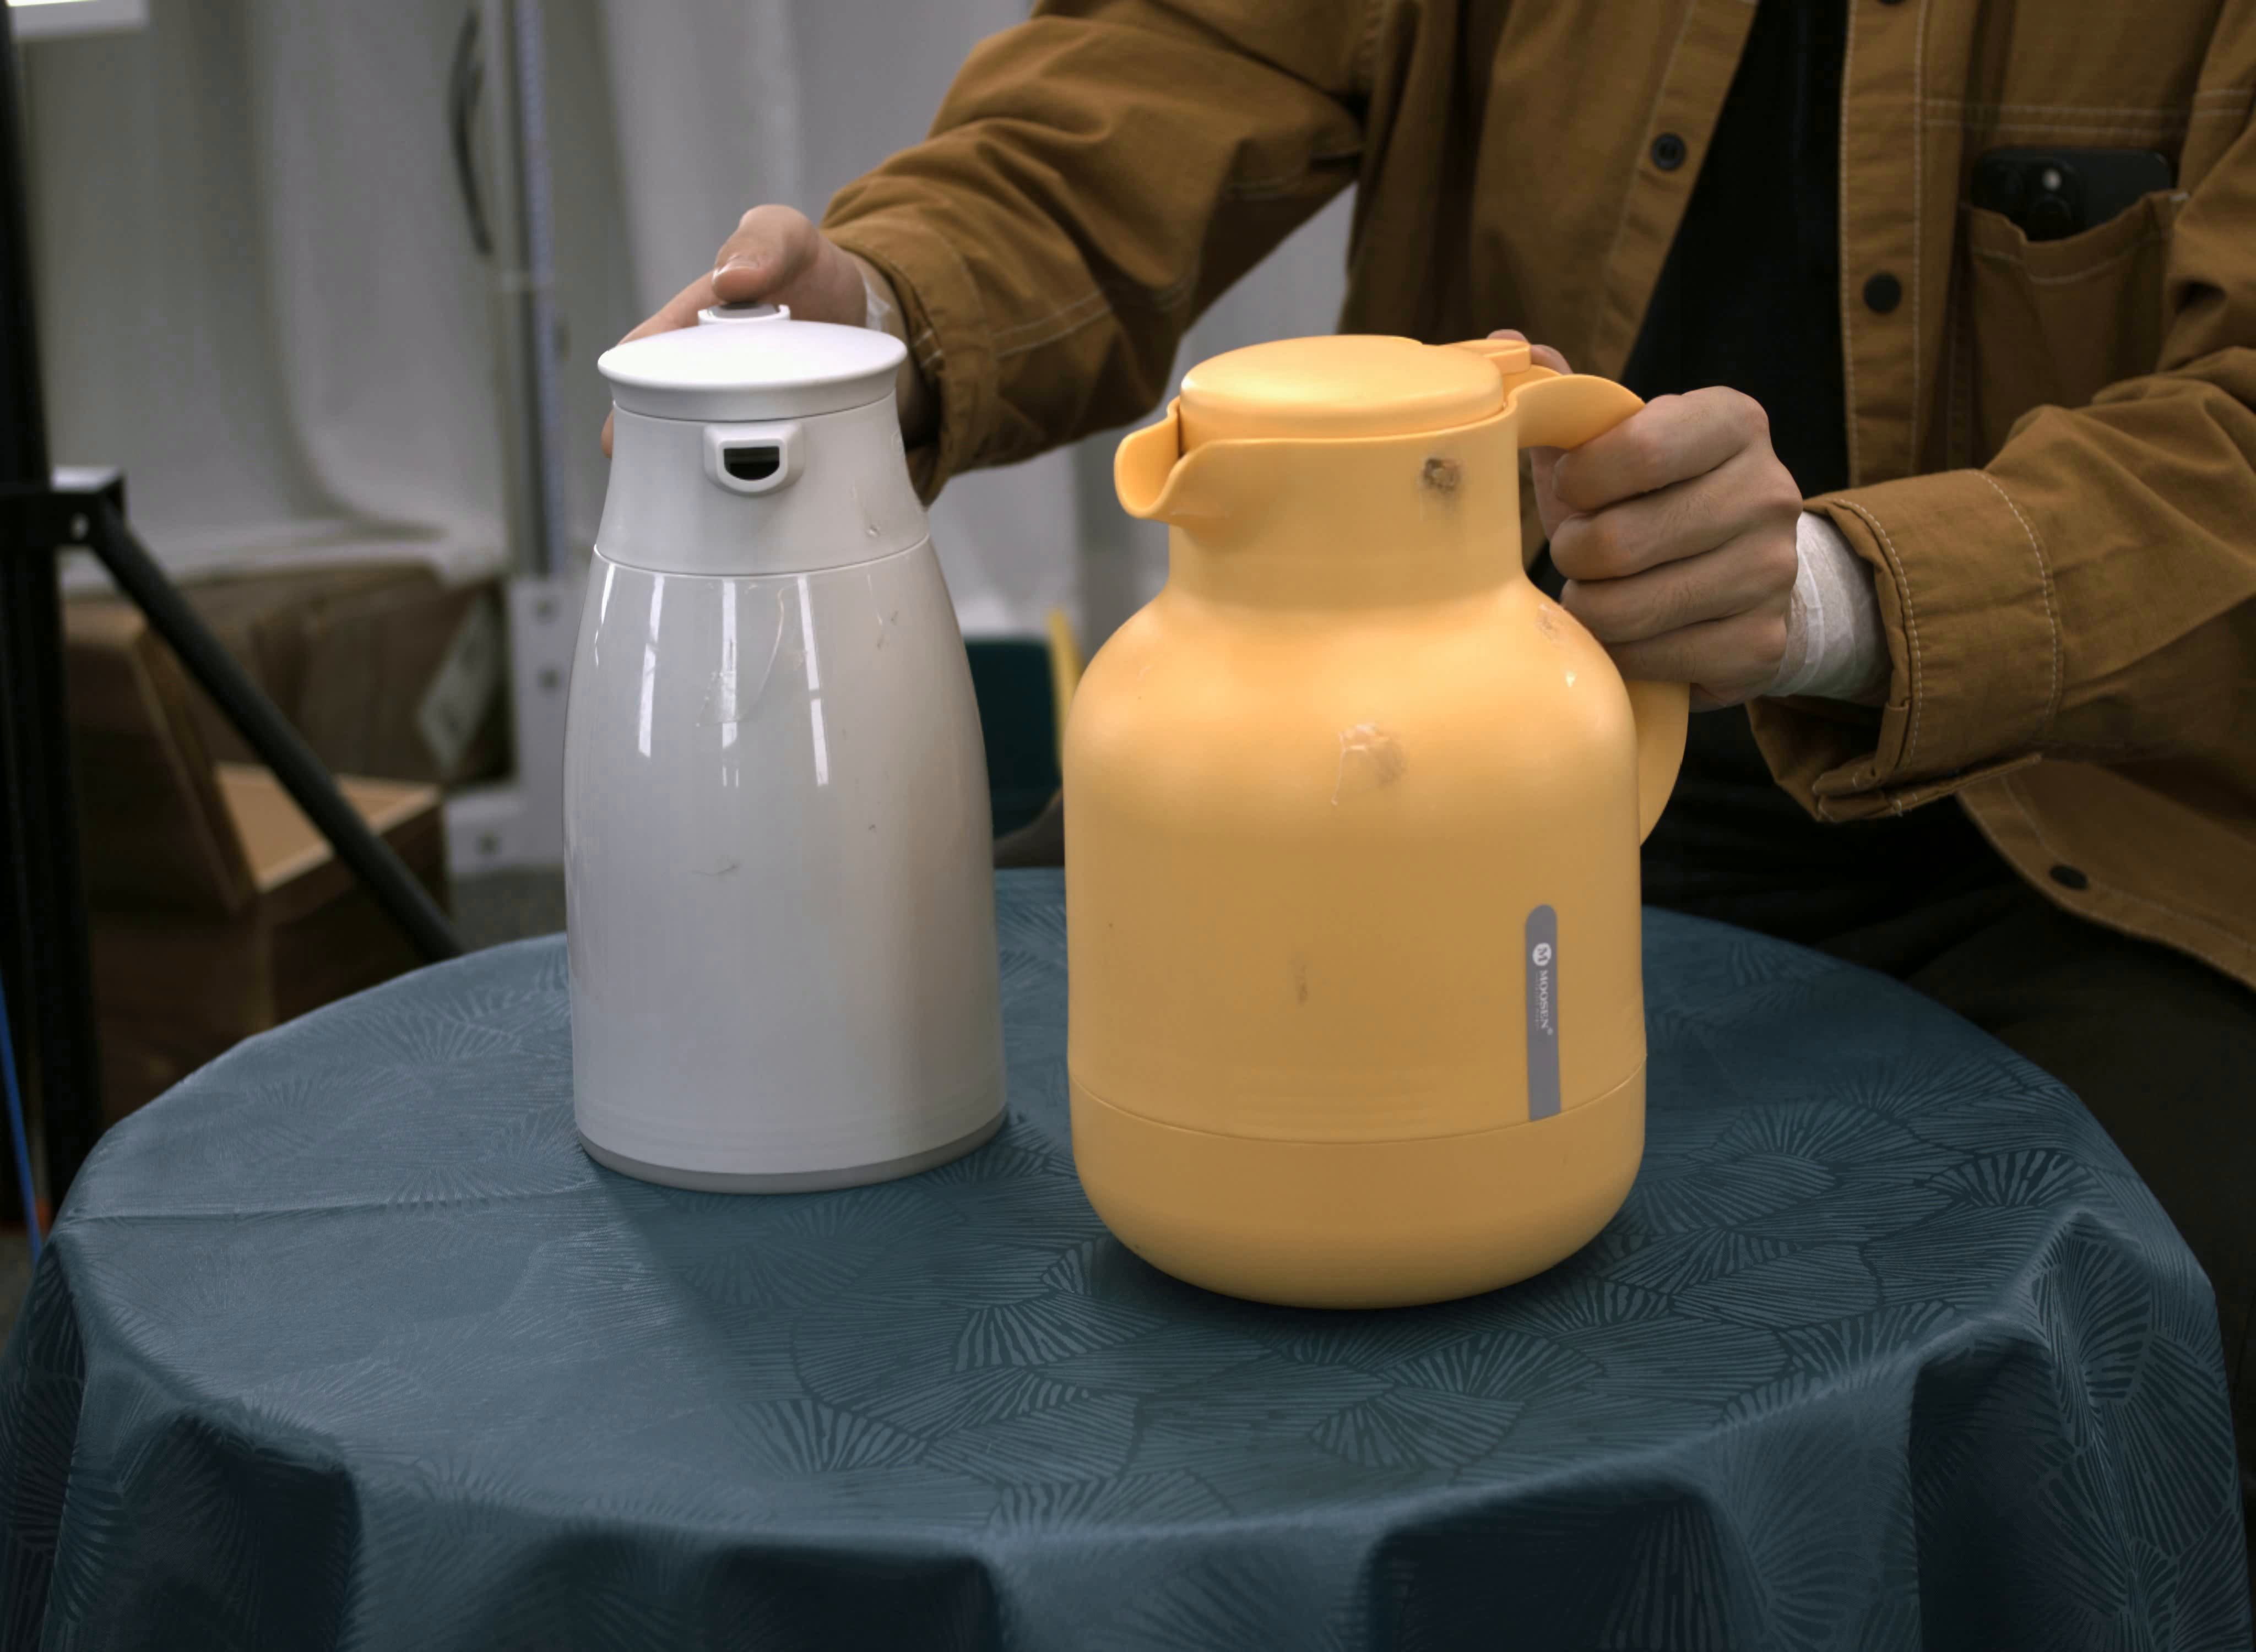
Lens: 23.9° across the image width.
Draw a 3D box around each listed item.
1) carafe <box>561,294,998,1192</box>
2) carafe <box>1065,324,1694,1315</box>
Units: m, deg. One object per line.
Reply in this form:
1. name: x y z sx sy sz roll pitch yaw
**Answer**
1. carafe: -0.108 -0.033 1.618 0.132 0.249 0.168 -2 14 -1
2. carafe: 0.079 -0.009 1.480 0.198 0.260 0.167 -14 21 -33
